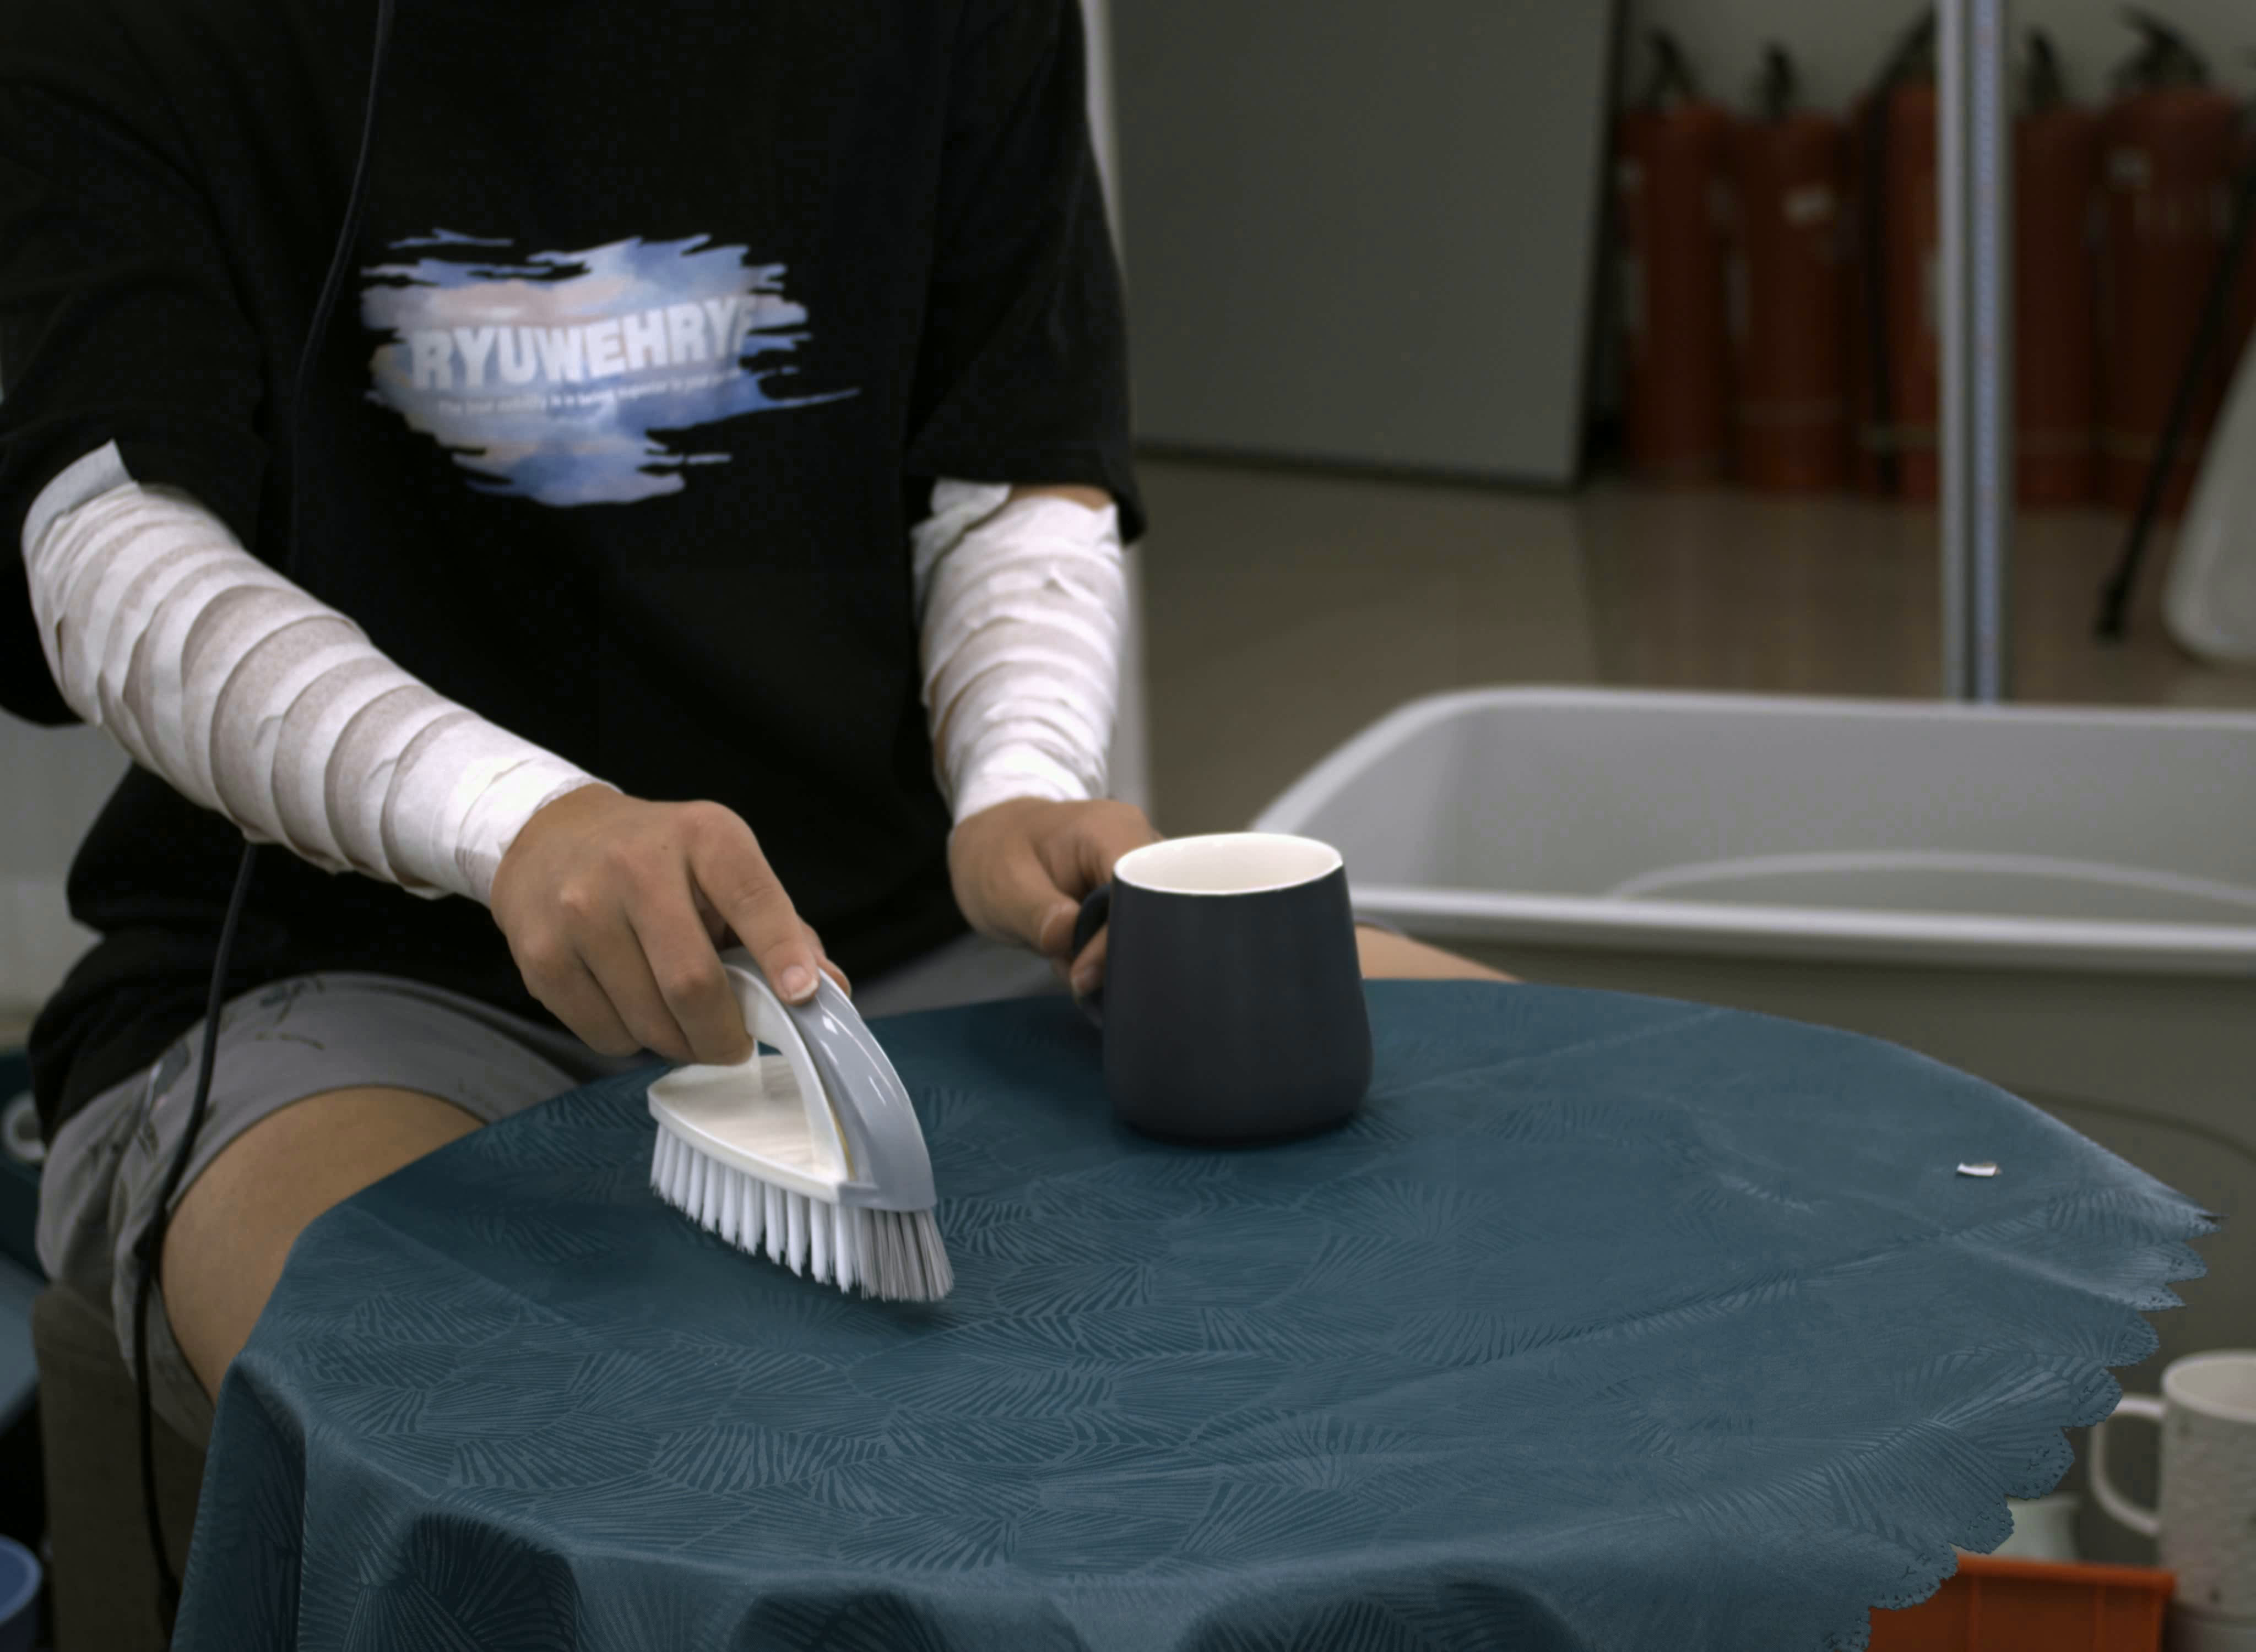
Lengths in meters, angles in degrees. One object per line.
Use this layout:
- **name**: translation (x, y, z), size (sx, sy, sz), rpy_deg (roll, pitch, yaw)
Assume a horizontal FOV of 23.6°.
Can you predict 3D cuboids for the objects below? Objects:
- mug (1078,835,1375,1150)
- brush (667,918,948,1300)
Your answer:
- **mug**: translation (0.027, 0.054, 1.849), size (0.091, 0.091, 0.124), rpy_deg (-15, 17, -38)
- **brush**: translation (-0.098, 0.085, 1.715), size (0.060, 0.095, 0.177), rpy_deg (-12, 19, -21)
